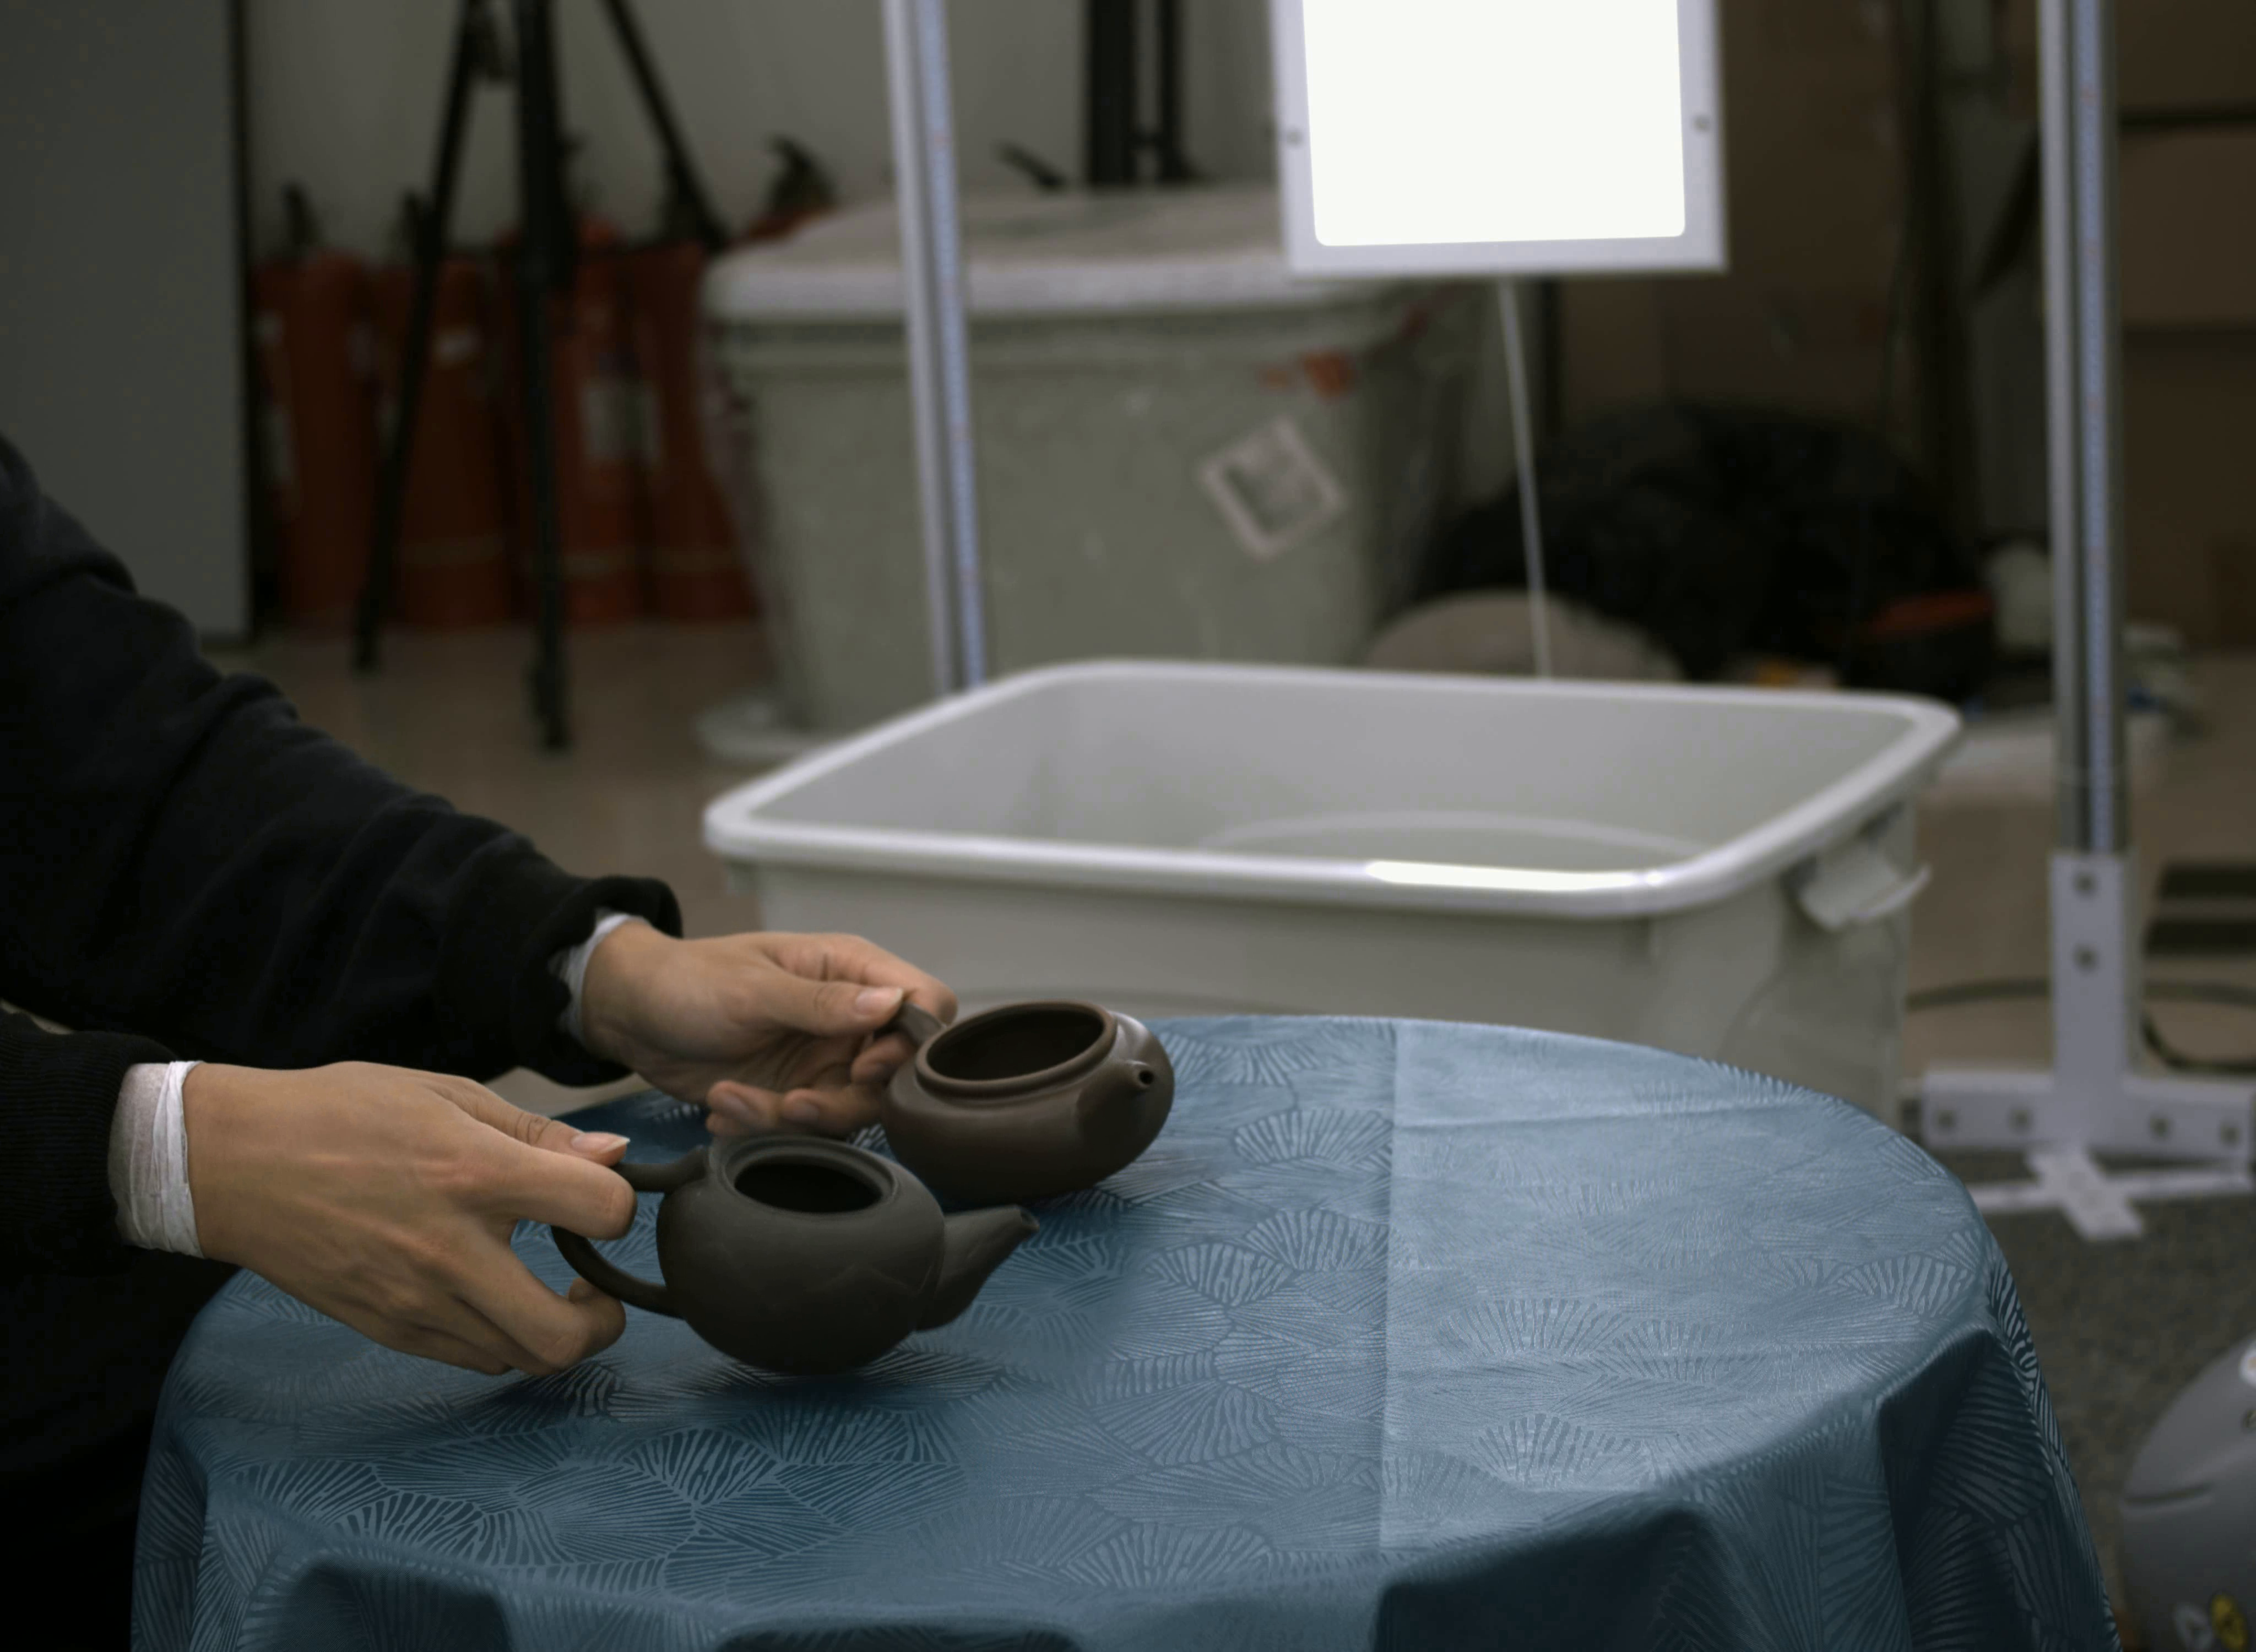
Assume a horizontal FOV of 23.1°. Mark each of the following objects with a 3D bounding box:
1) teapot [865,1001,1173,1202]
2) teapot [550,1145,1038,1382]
[{"bbox_3d":[-0.038,0.093,1.918,0.157,0.054,0.100,11,28,45],"label":"teapot"},{"bbox_3d":[-0.106,0.136,1.736,0.154,0.065,0.092,7,19,2],"label":"teapot"}]
